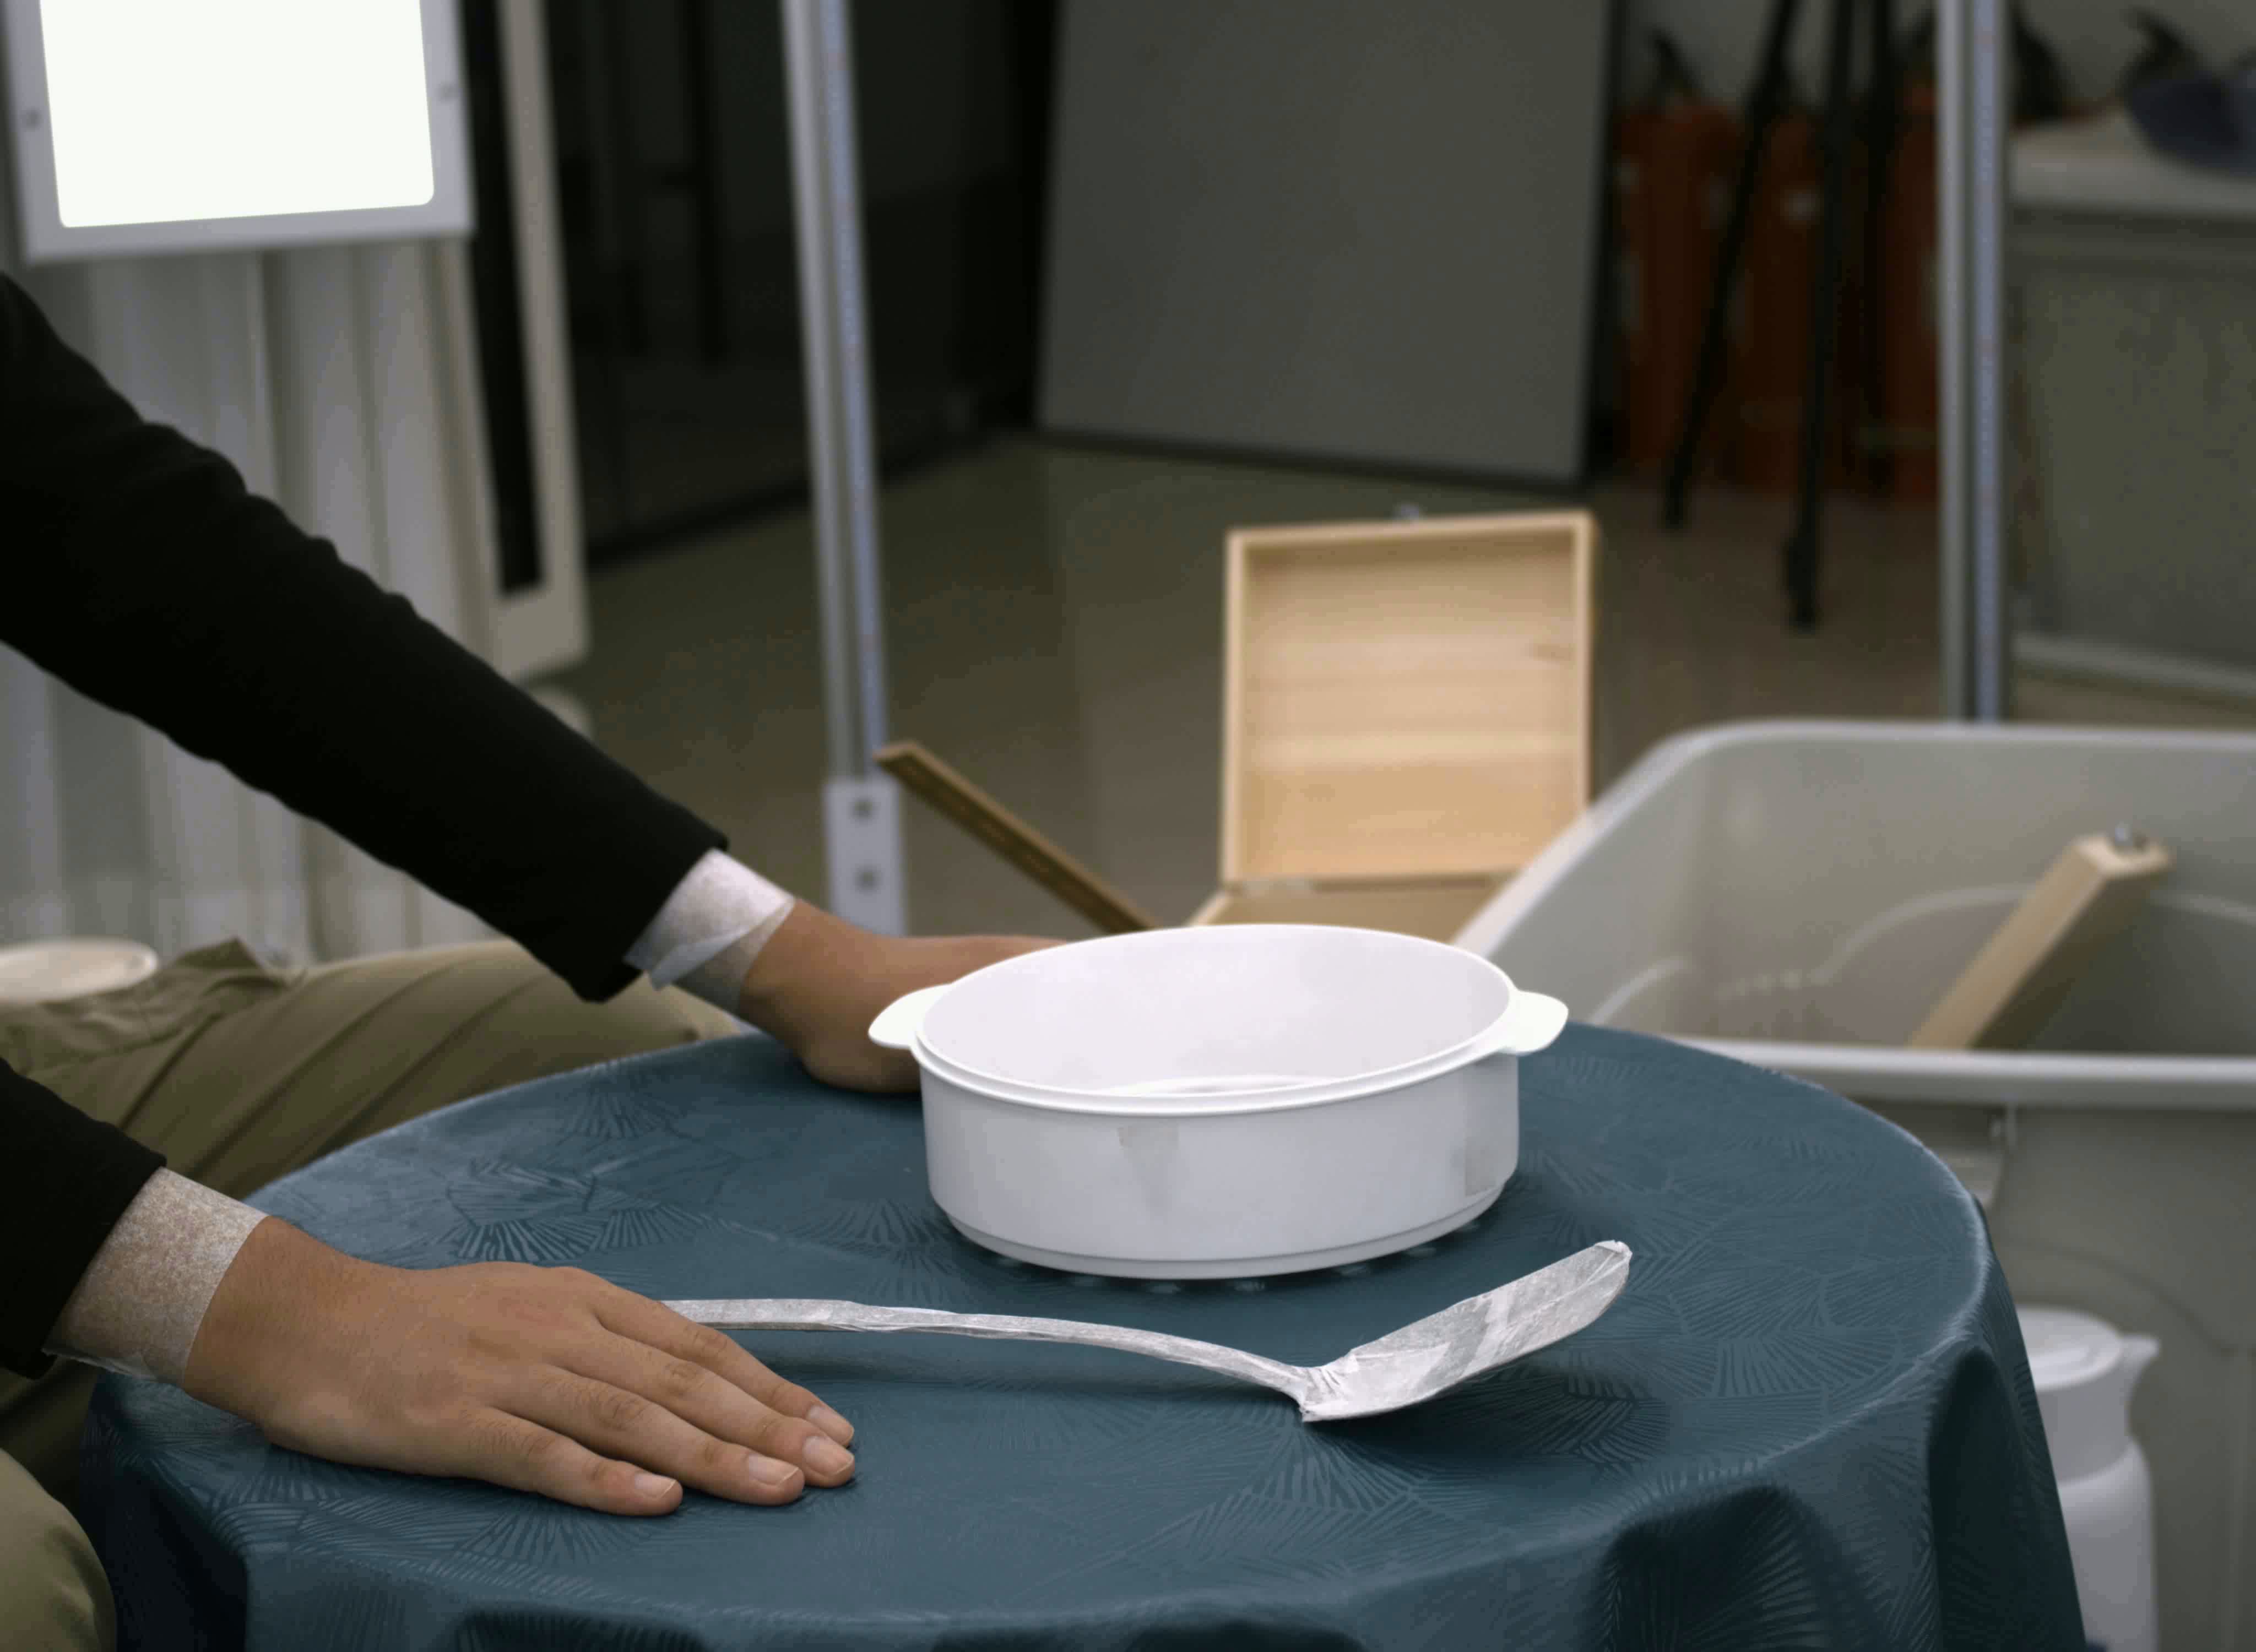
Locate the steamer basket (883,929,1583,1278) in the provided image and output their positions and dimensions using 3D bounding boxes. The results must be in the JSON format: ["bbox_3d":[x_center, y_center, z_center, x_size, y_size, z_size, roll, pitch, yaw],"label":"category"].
[{"bbox_3d":[0.035,0.089,1.744,0.230,0.070,0.200,-1,13,17],"label":"steamer basket"}]

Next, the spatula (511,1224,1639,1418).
[{"bbox_3d":[-0.026,0.145,1.599,0.364,0.045,0.098,1,17,21],"label":"spatula"}]
